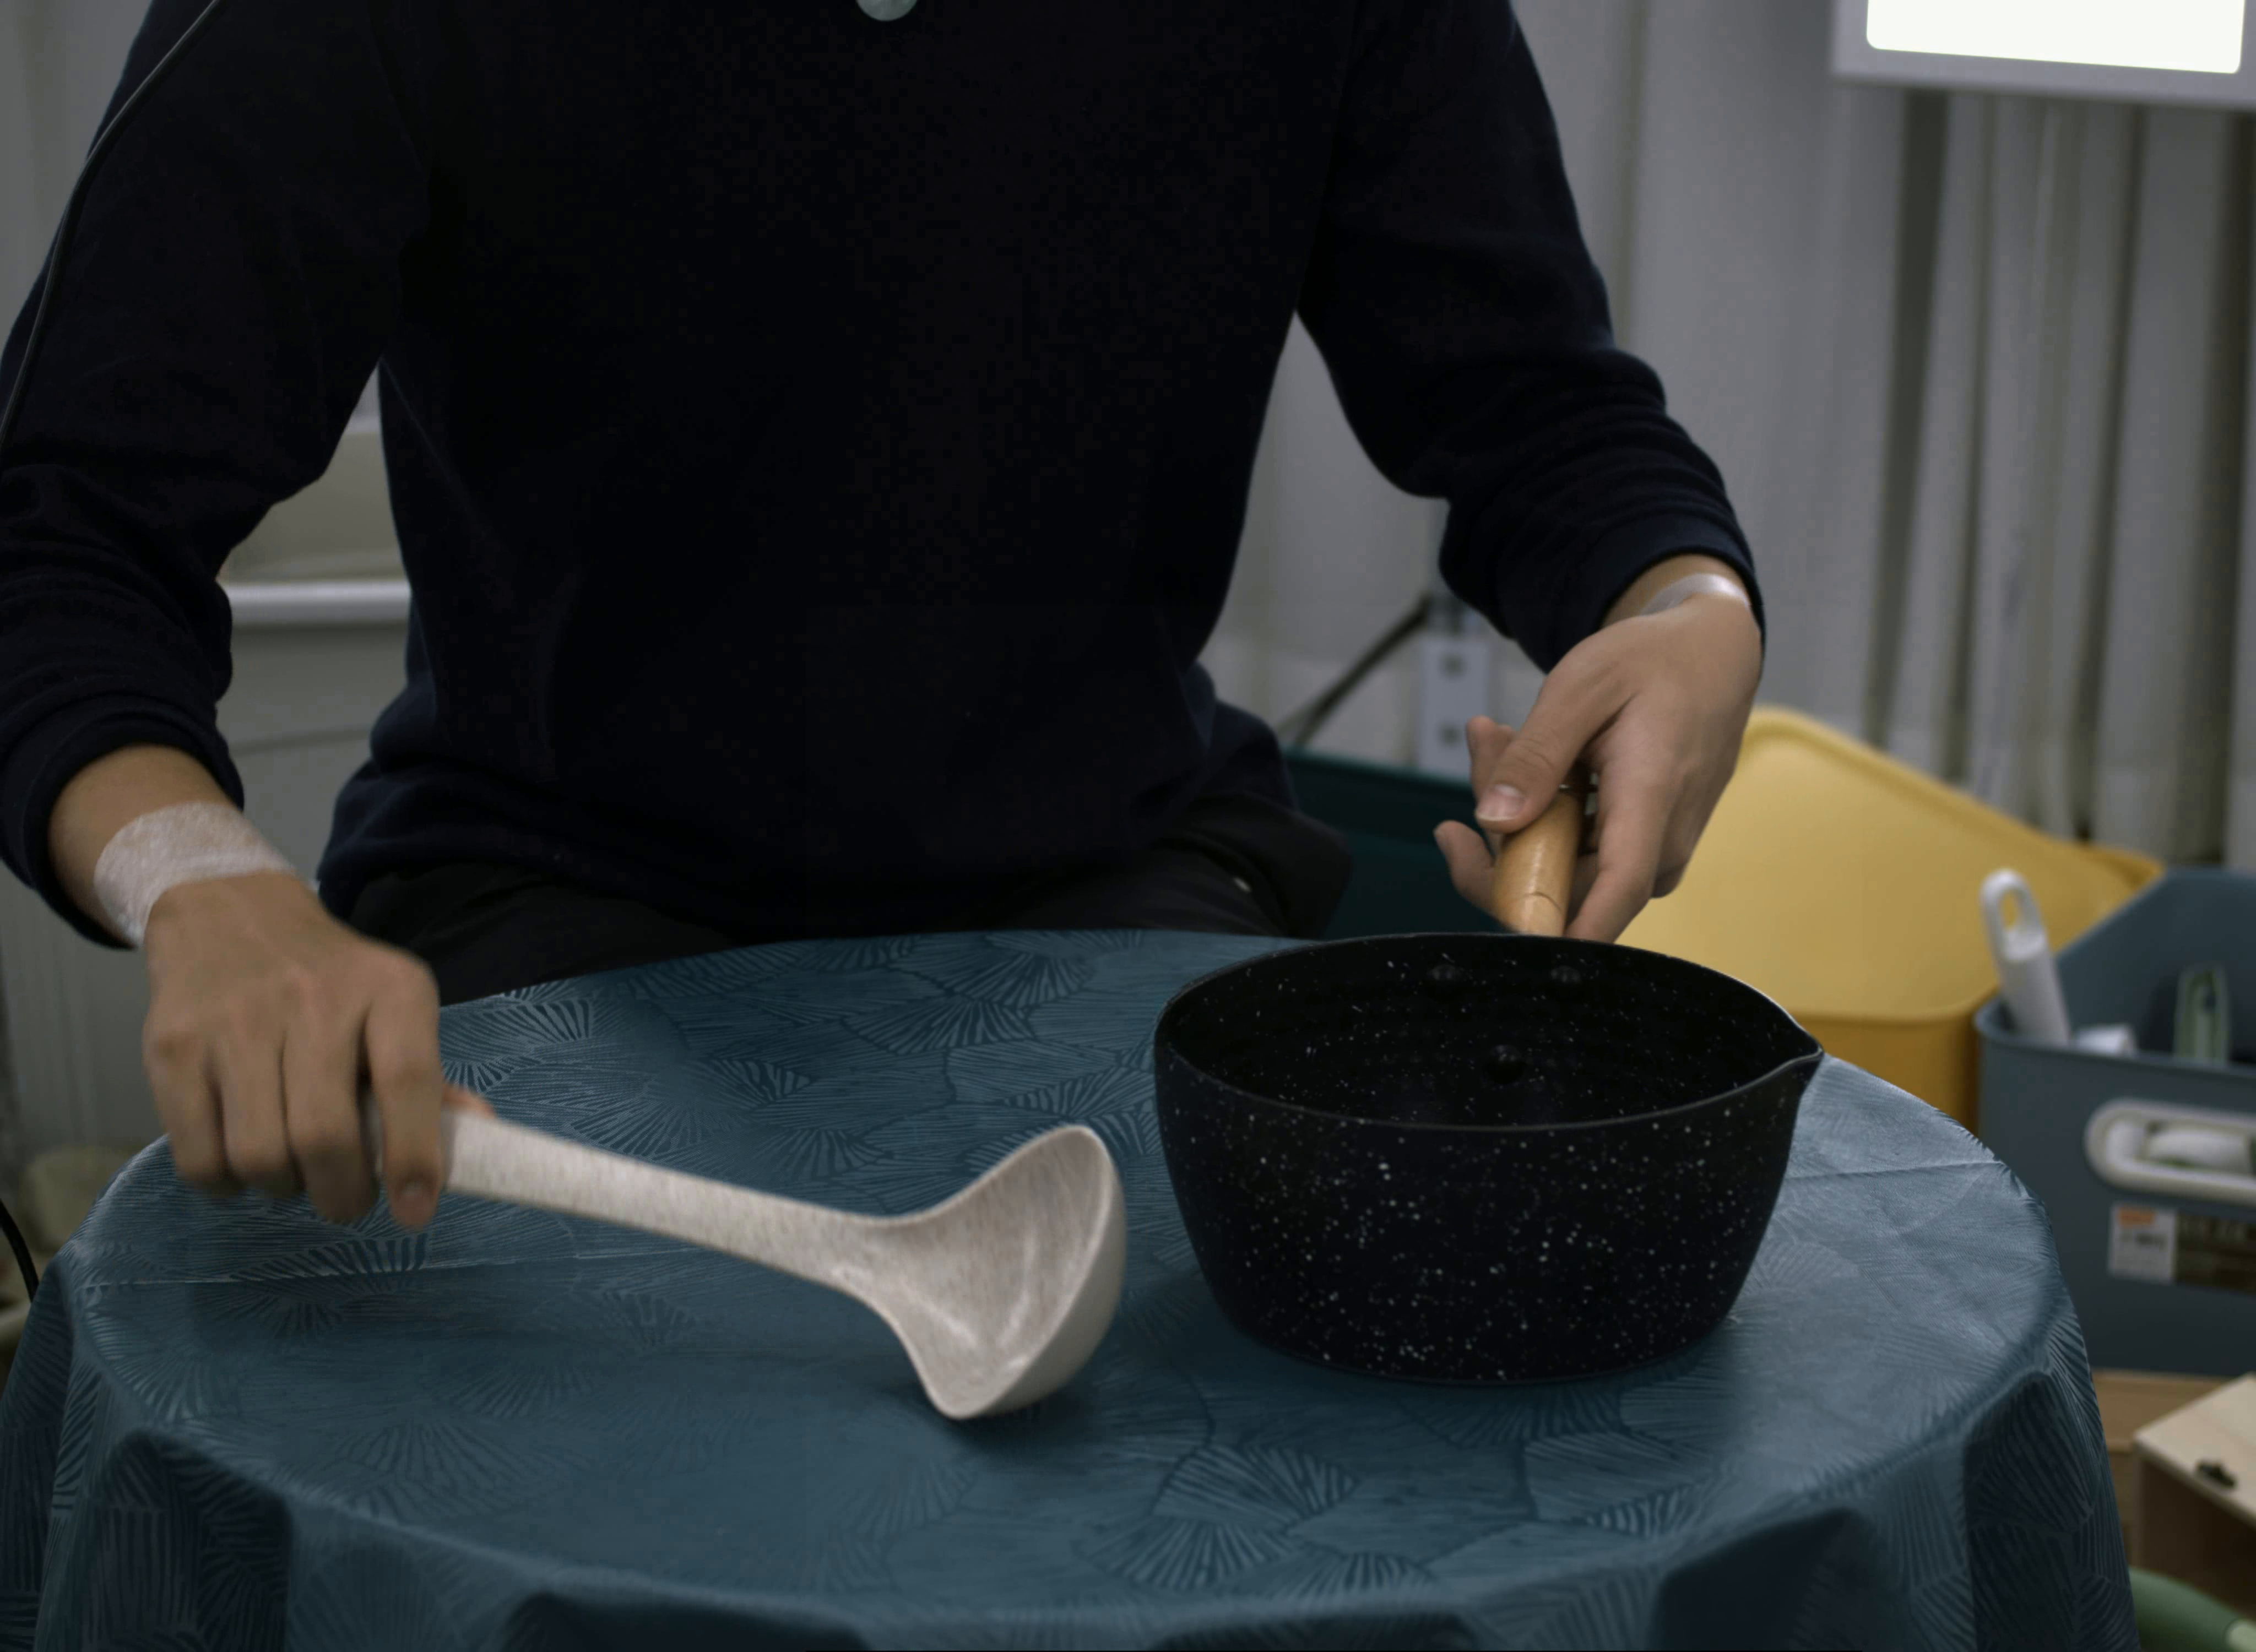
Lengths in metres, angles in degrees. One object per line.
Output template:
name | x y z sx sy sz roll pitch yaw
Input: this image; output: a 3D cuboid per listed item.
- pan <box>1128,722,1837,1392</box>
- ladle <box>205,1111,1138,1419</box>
pan | 0.113 0.064 1.596 0.206 0.109 0.342 2 17 9
ladle | -0.131 0.101 1.463 0.273 0.070 0.089 12 62 7
